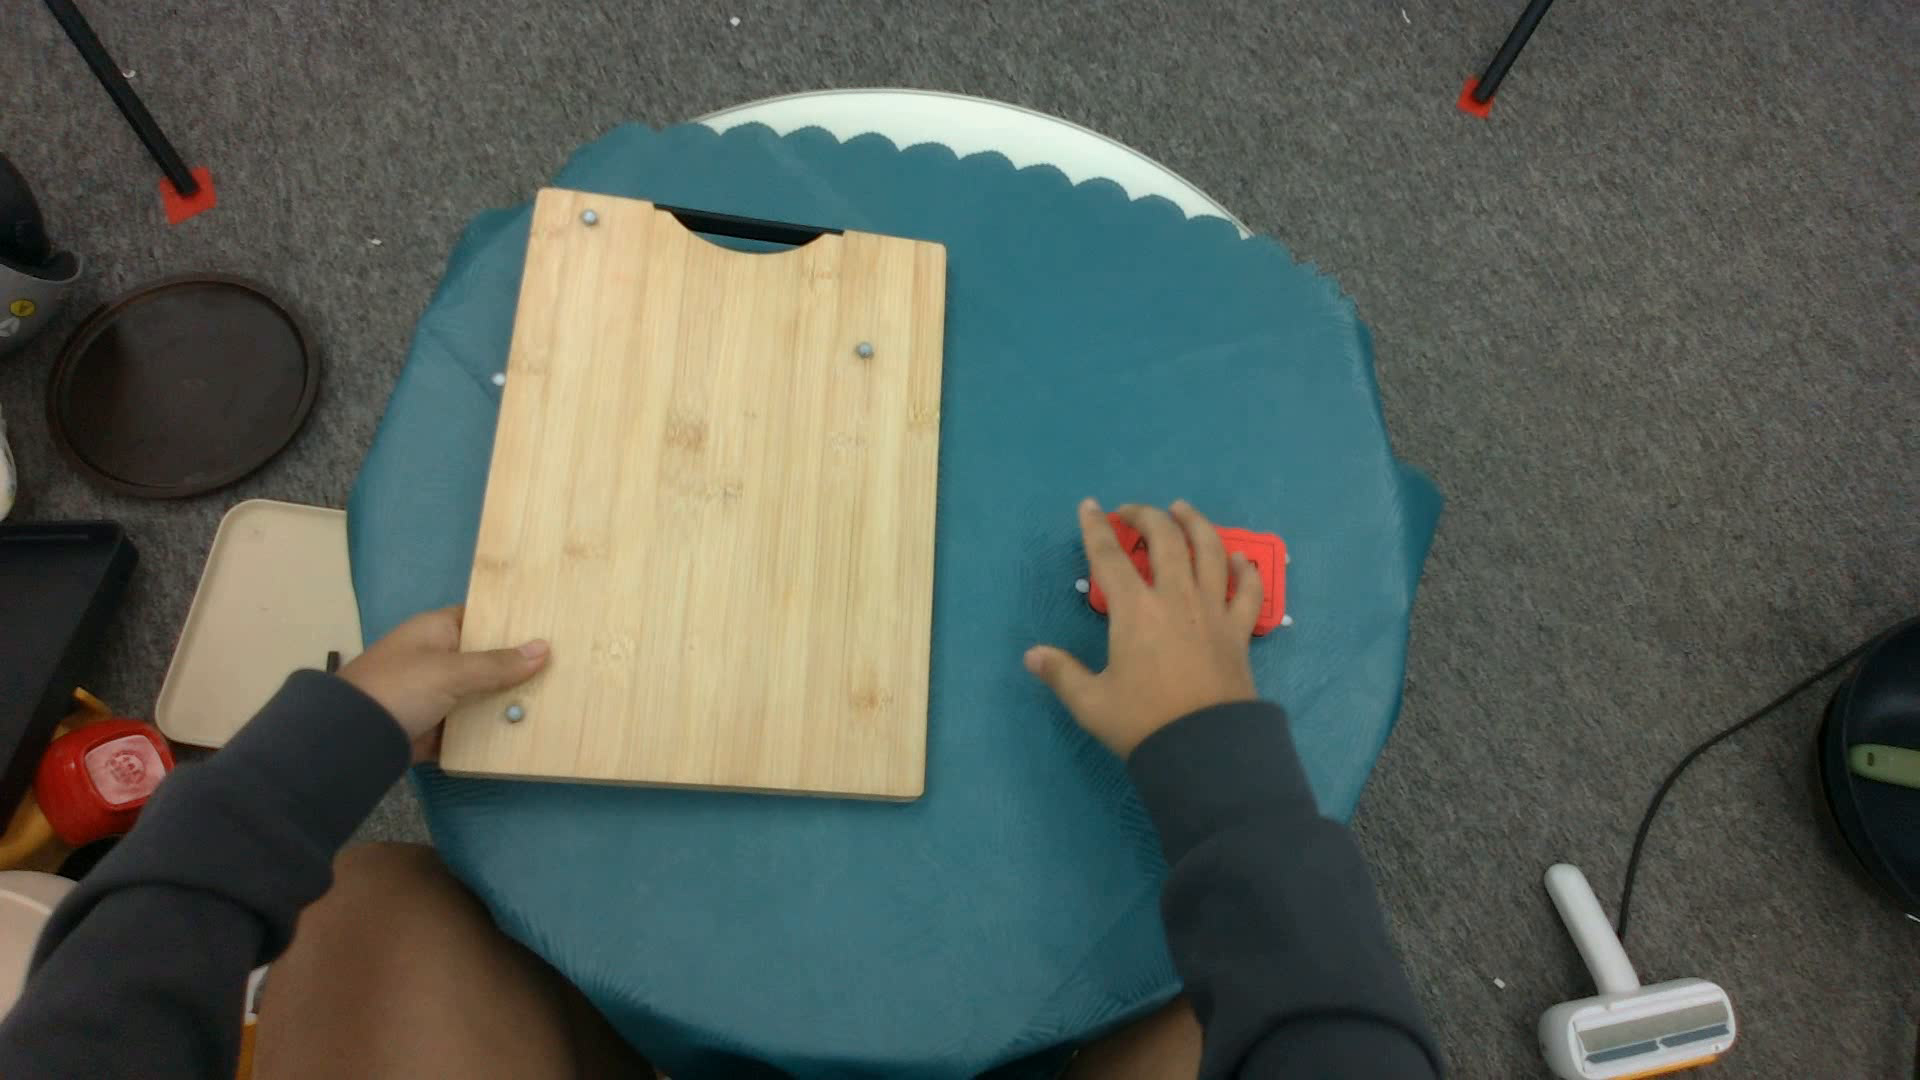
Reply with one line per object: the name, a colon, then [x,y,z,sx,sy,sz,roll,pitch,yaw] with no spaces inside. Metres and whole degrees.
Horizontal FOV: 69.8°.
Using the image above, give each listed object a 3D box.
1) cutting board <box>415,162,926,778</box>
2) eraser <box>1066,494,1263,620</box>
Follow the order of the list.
cutting board: [-0.144,-0.046,0.763,0.251,0.023,0.350,5,68,-11]
eraser: [0.116,0.010,0.781,0.108,0.023,0.059,8,69,-2]
